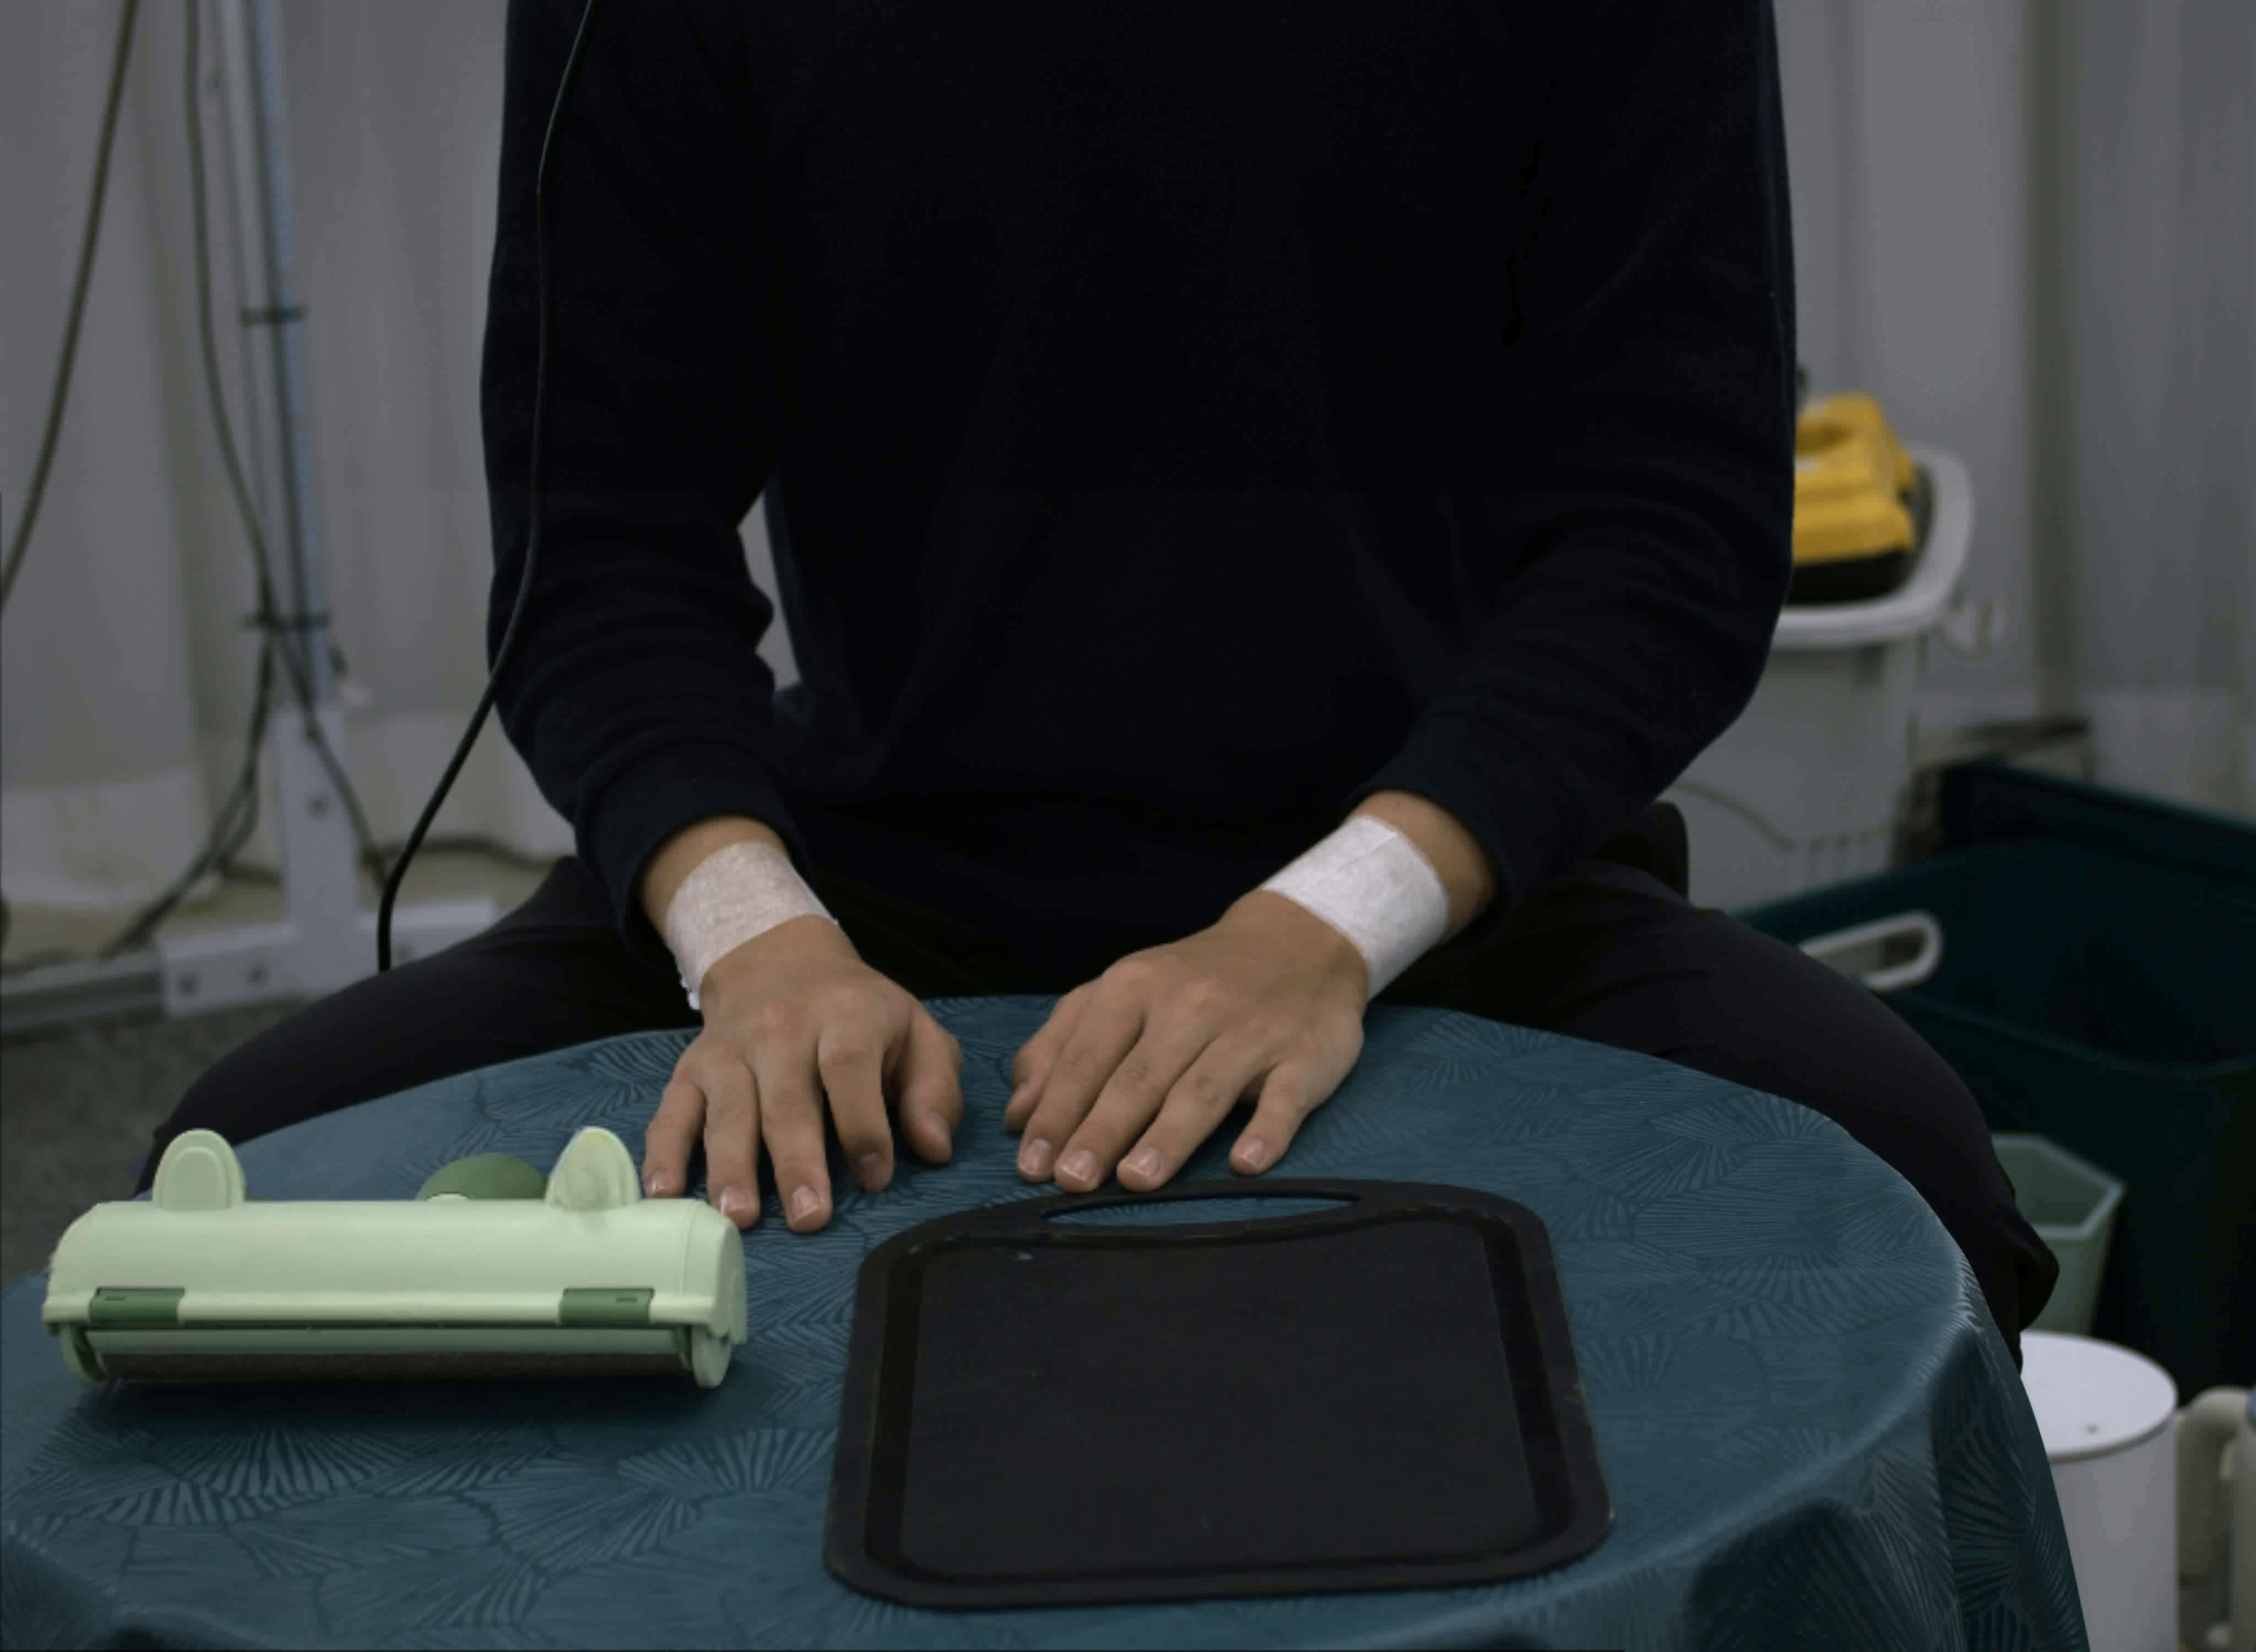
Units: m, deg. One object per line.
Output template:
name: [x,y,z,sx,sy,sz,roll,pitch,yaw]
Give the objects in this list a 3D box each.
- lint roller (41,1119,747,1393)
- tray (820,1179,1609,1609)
lint roller: [-0.205,0.106,1.622,0.198,0.081,0.185,0,22,6]
tray: [0.022,0.154,1.553,0.210,0.010,0.327,-3,15,1]
